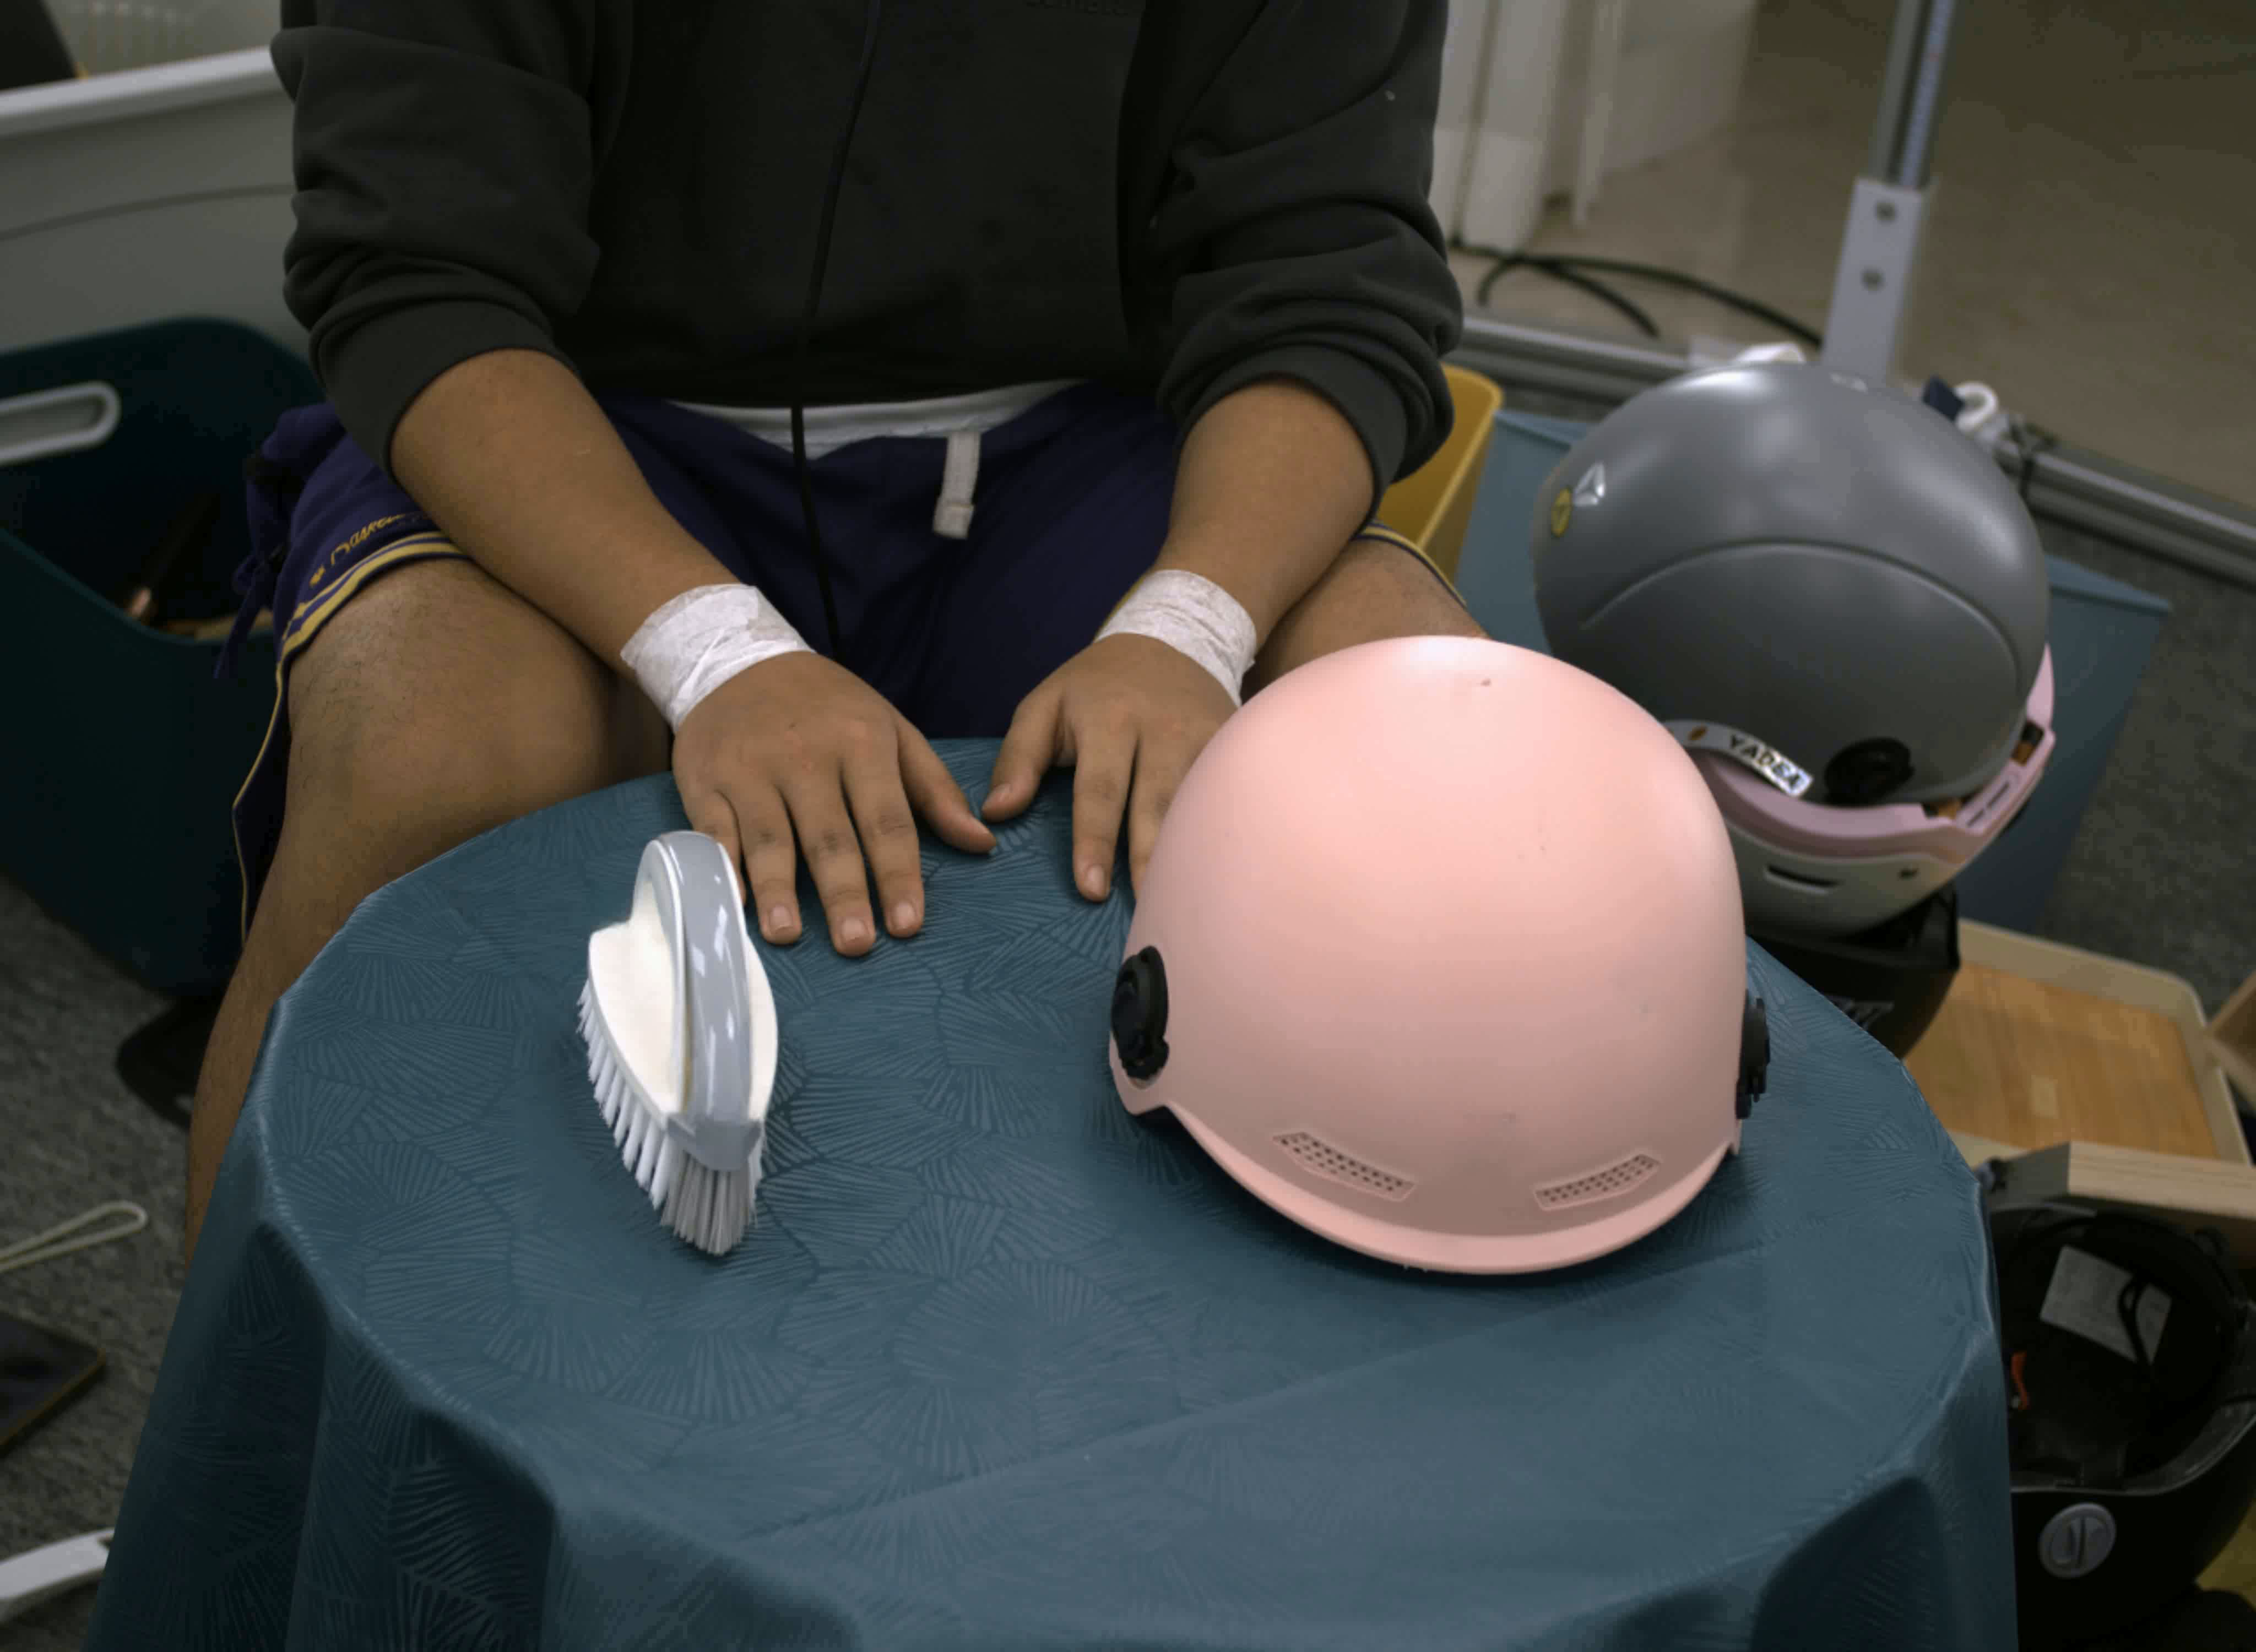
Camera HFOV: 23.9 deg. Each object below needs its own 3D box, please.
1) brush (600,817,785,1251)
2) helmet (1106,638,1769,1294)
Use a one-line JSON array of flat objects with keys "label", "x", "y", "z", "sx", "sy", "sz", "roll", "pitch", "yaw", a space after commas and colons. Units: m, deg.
[{"label": "brush", "x": -0.143, "y": 0.062, "z": 1.790, "sx": 0.061, "sy": 0.094, "sz": 0.177, "roll": -1, "pitch": 29, "yaw": -11}, {"label": "helmet", "x": 0.112, "y": 0.029, "z": 1.847, "sx": 0.233, "sy": 0.158, "sz": 0.268, "roll": 4, "pitch": 31, "yaw": -6}]
